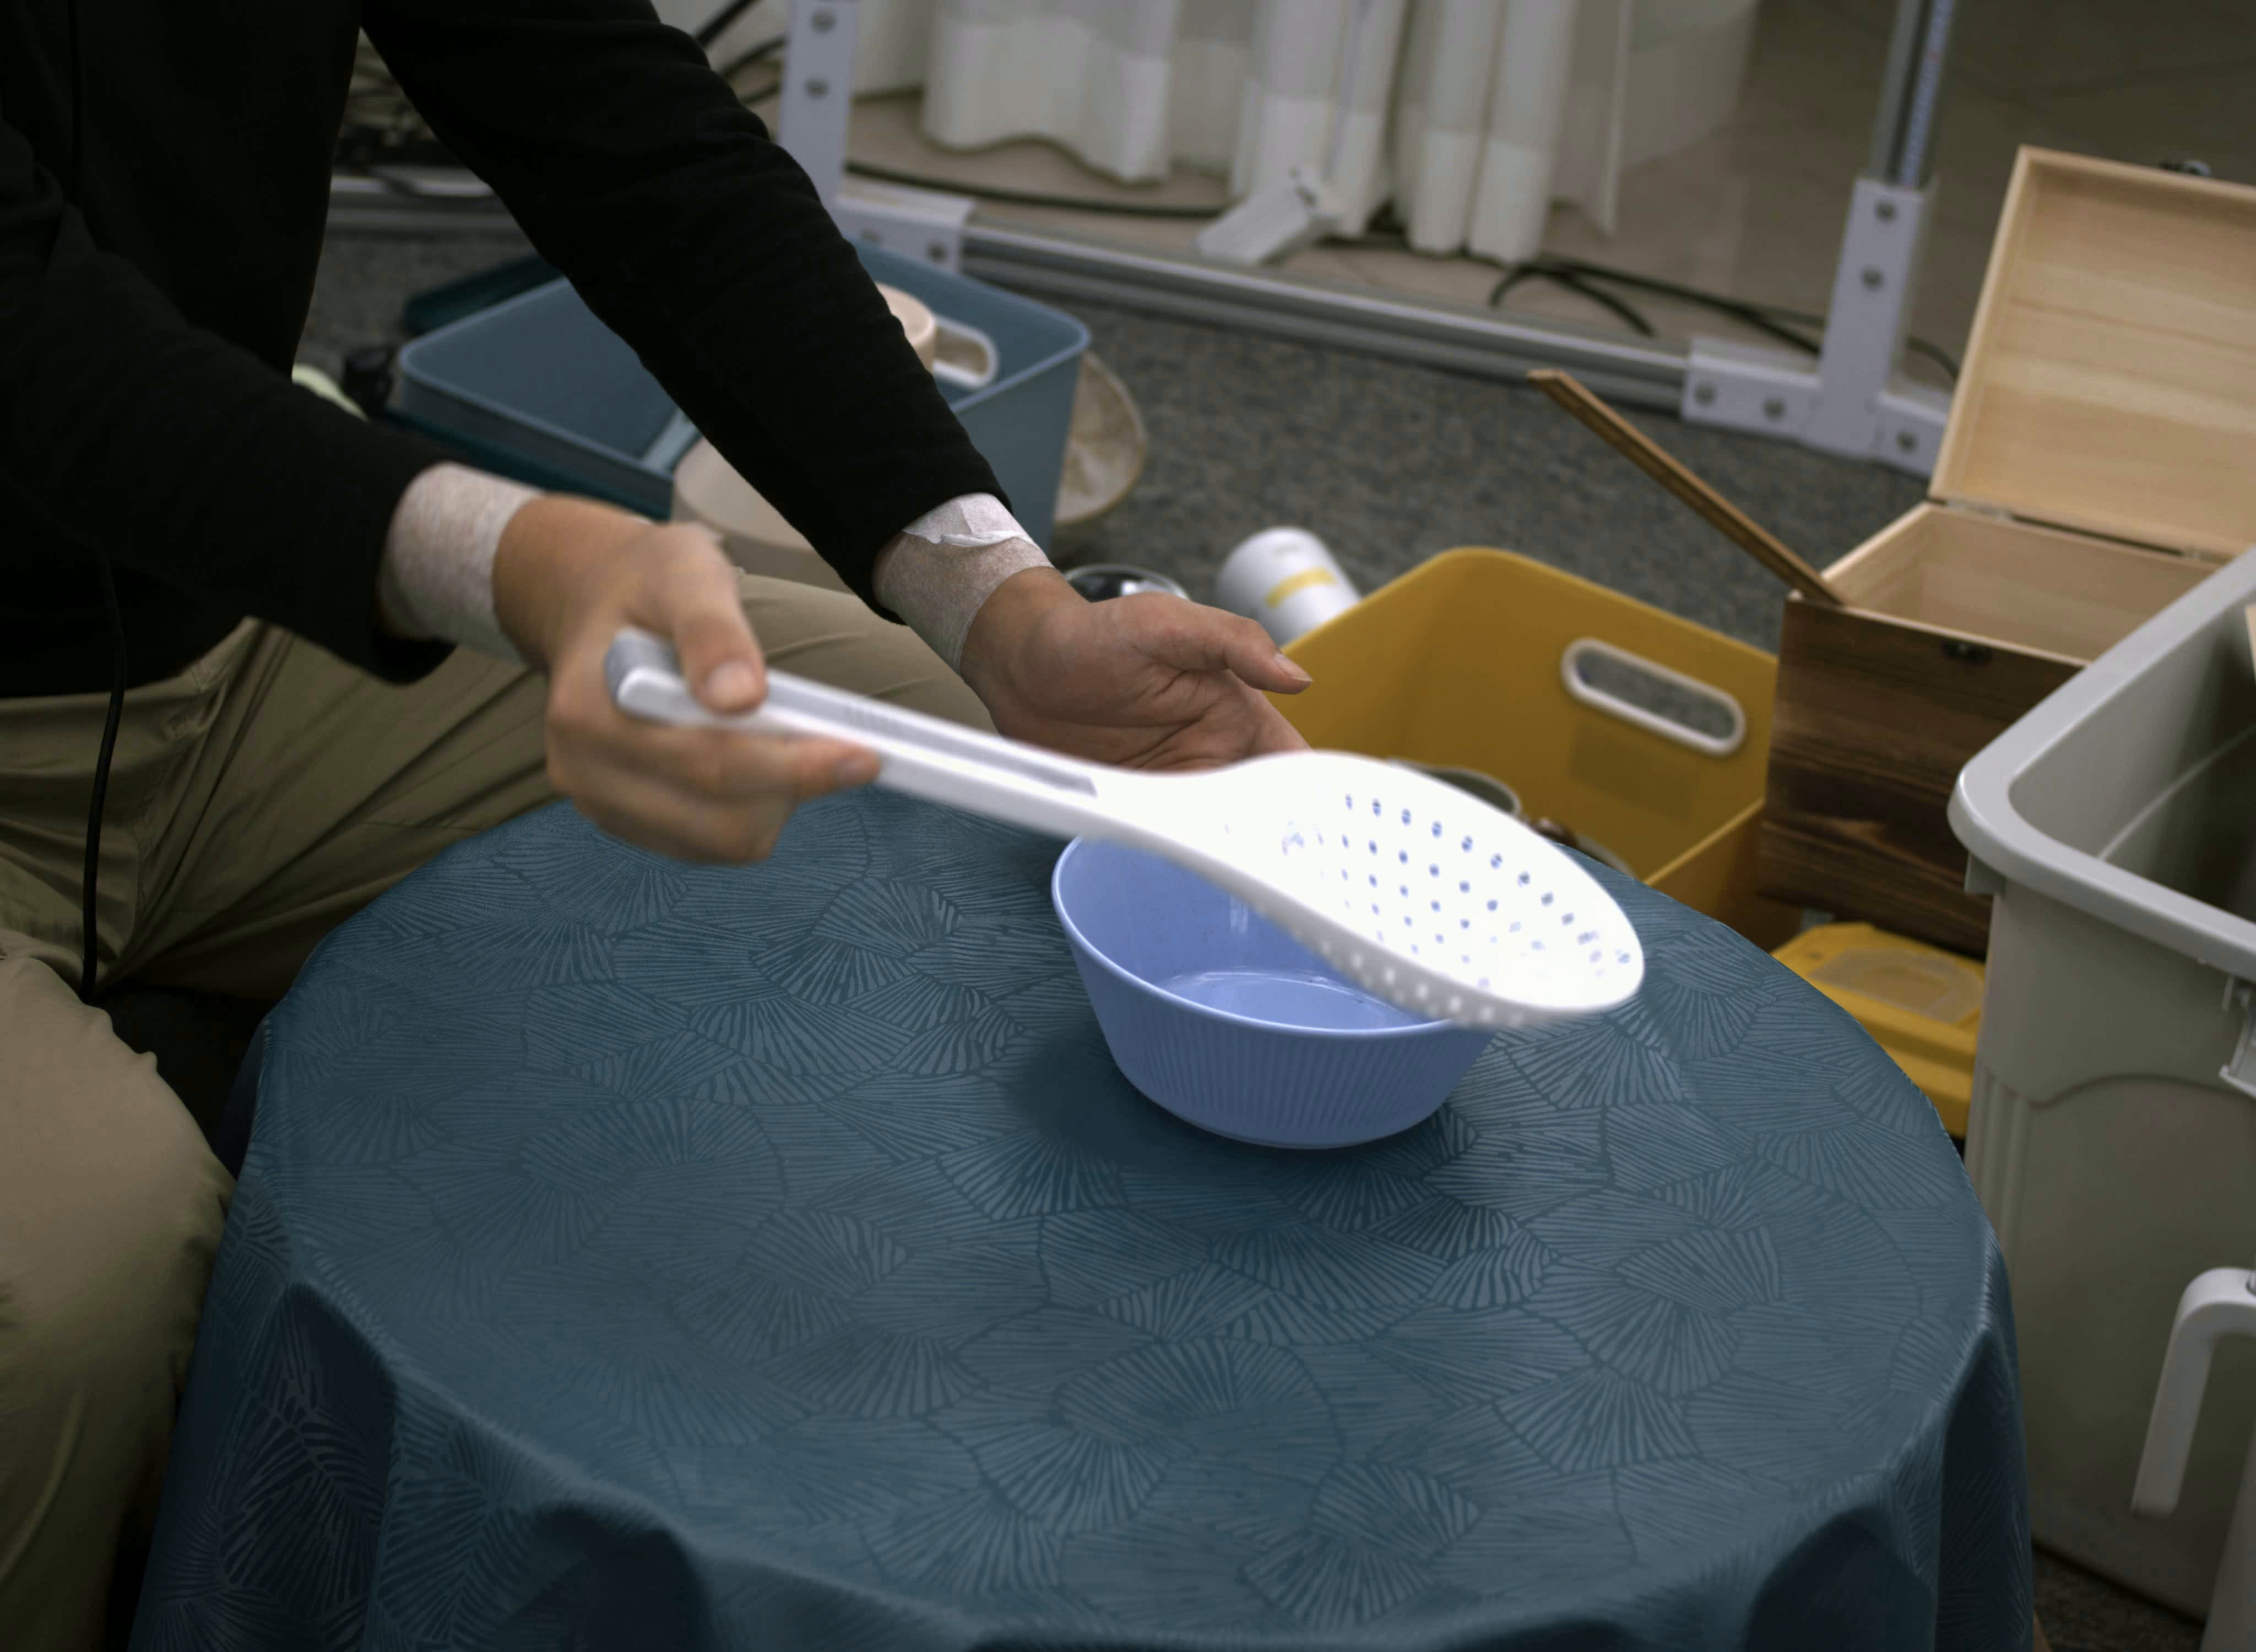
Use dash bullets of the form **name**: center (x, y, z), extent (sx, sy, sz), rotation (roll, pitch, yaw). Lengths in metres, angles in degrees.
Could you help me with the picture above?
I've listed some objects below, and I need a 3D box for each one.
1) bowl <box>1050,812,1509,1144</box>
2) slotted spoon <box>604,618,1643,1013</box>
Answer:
- **bowl**: center (0.057, 0.055, 1.869), extent (0.175, 0.070, 0.177), rotation (5, 26, -3)
- **slotted spoon**: center (0.002, -0.009, 1.612), extent (0.347, 0.045, 0.137), rotation (19, 25, -27)
